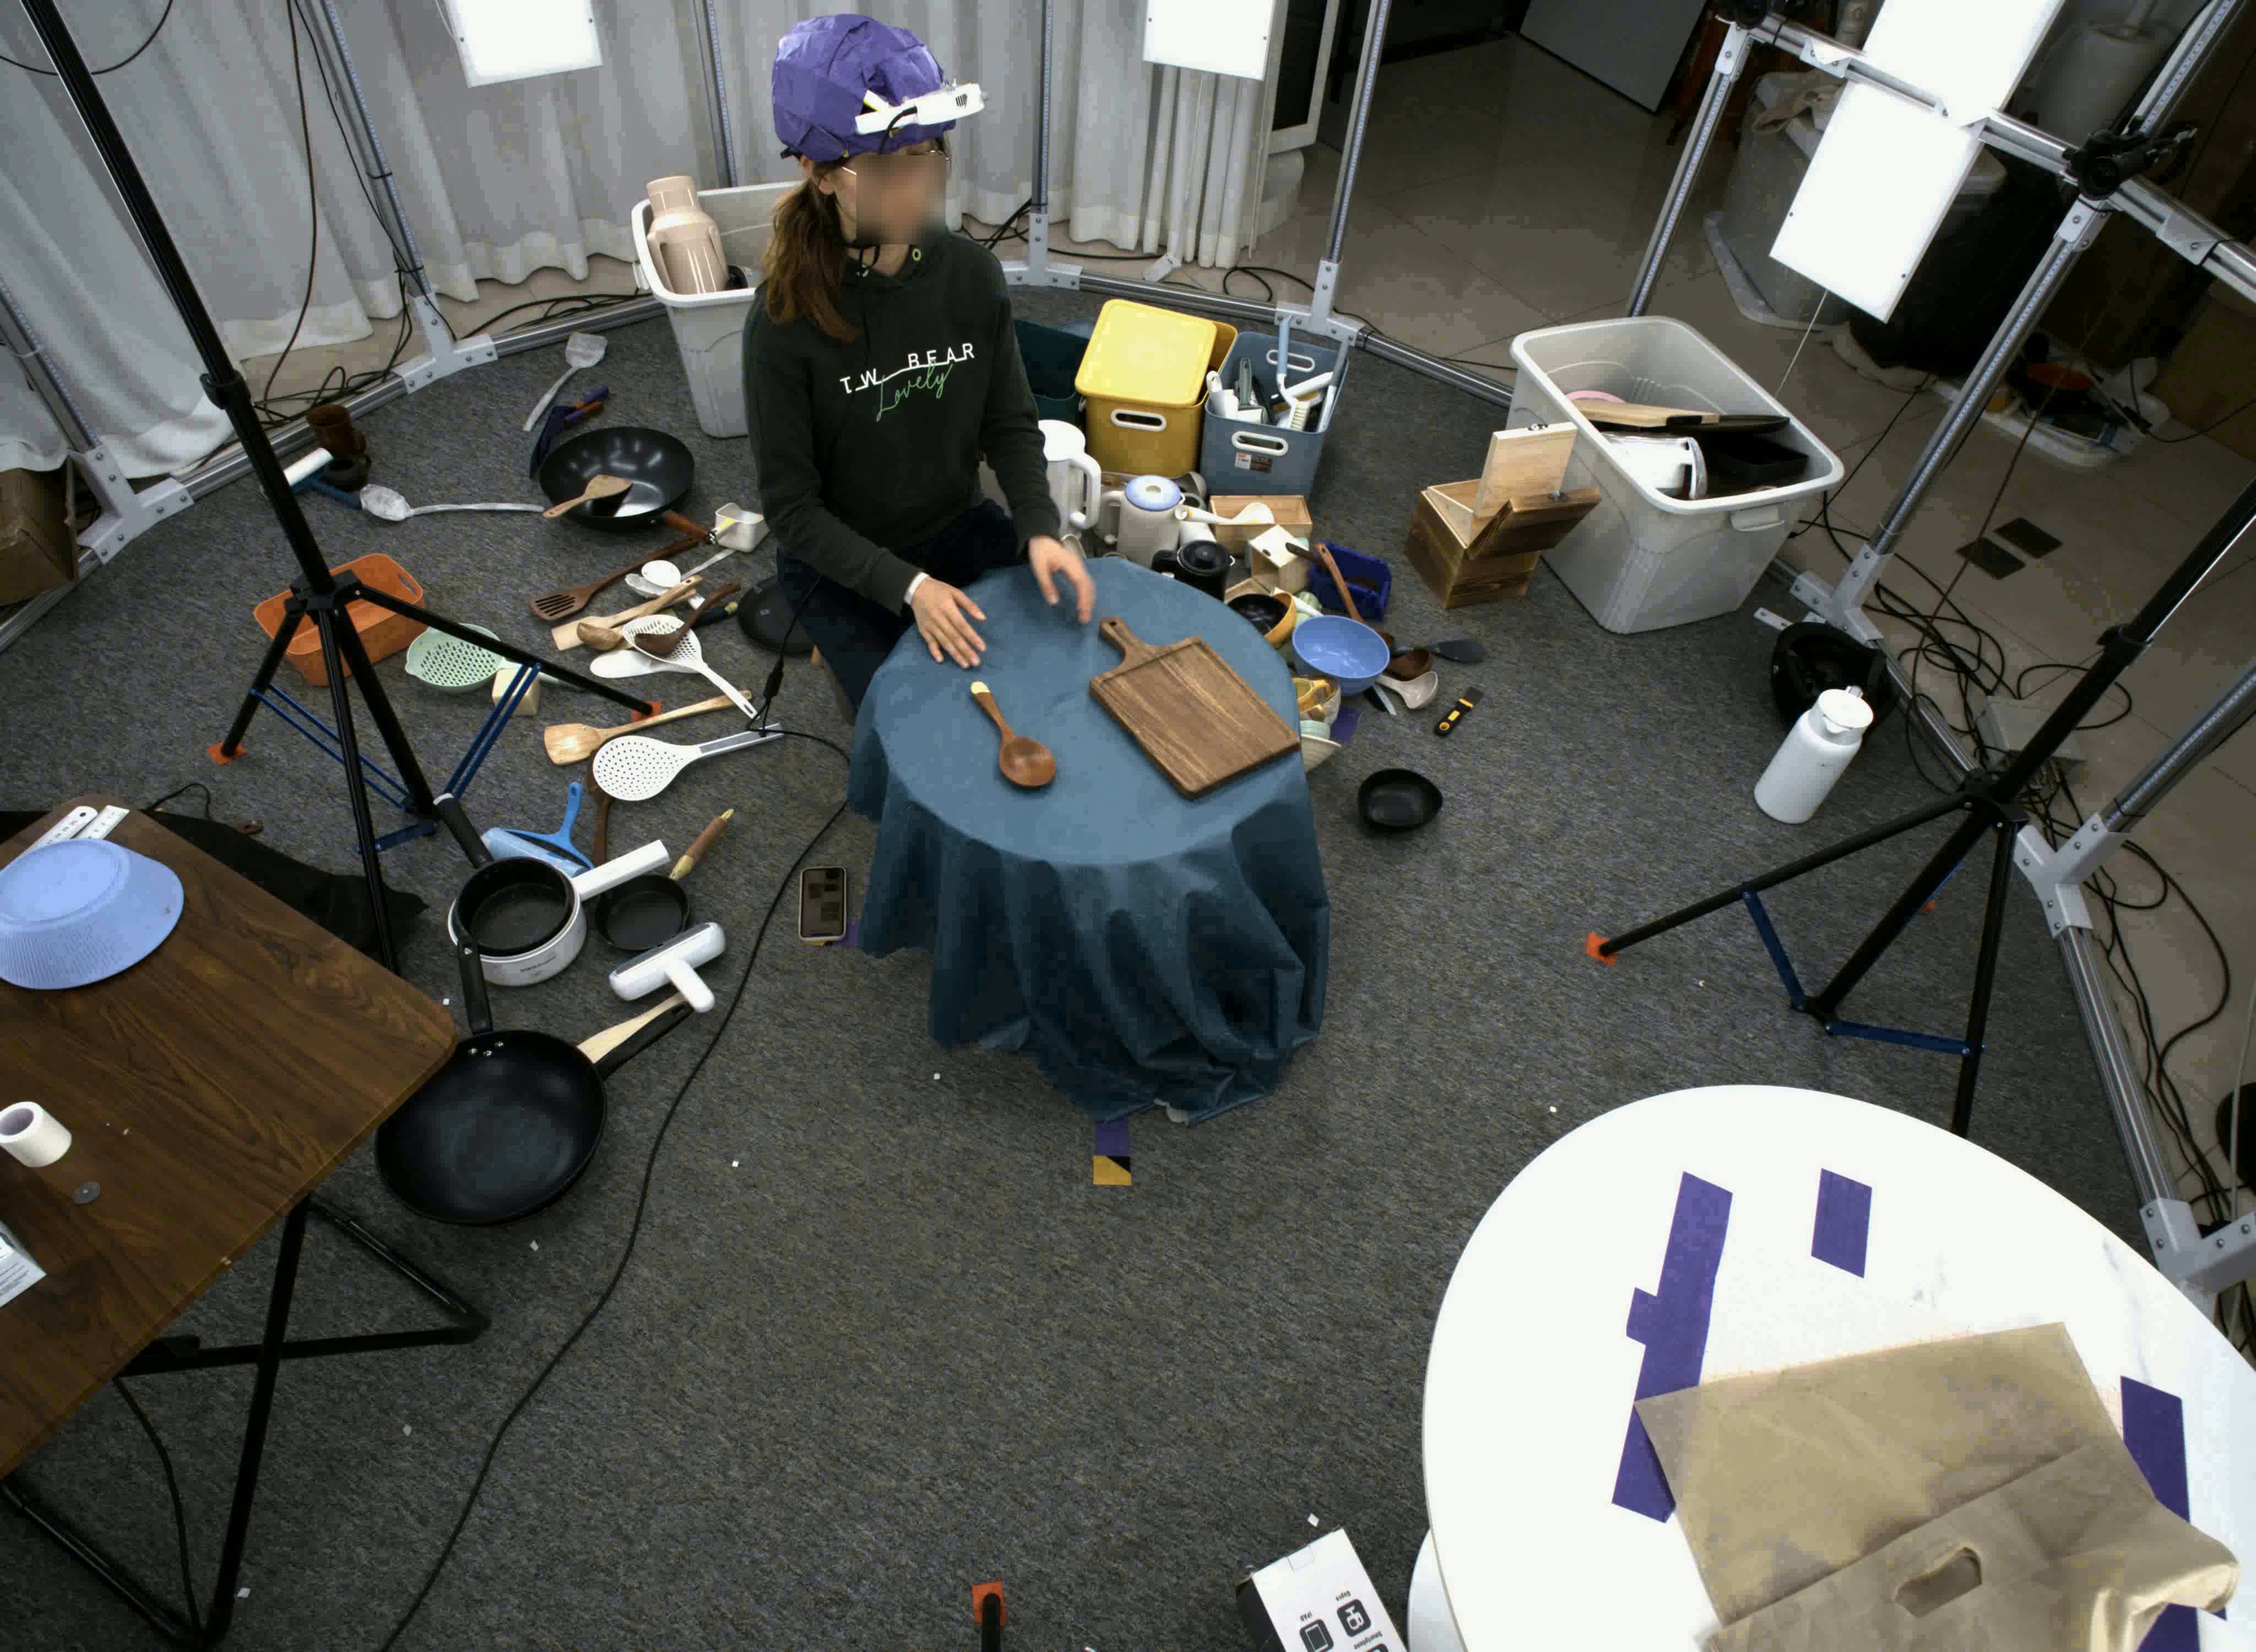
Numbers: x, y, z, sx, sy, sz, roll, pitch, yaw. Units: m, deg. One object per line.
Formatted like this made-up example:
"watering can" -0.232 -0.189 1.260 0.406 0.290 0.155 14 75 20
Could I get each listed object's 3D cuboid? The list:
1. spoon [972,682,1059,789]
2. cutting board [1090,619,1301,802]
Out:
"spoon" -0.163 -0.126 1.771 0.075 0.017 0.220 -21 54 -18
"cutting board" 0.066 -0.189 1.842 0.202 0.022 0.359 -25 55 -23
